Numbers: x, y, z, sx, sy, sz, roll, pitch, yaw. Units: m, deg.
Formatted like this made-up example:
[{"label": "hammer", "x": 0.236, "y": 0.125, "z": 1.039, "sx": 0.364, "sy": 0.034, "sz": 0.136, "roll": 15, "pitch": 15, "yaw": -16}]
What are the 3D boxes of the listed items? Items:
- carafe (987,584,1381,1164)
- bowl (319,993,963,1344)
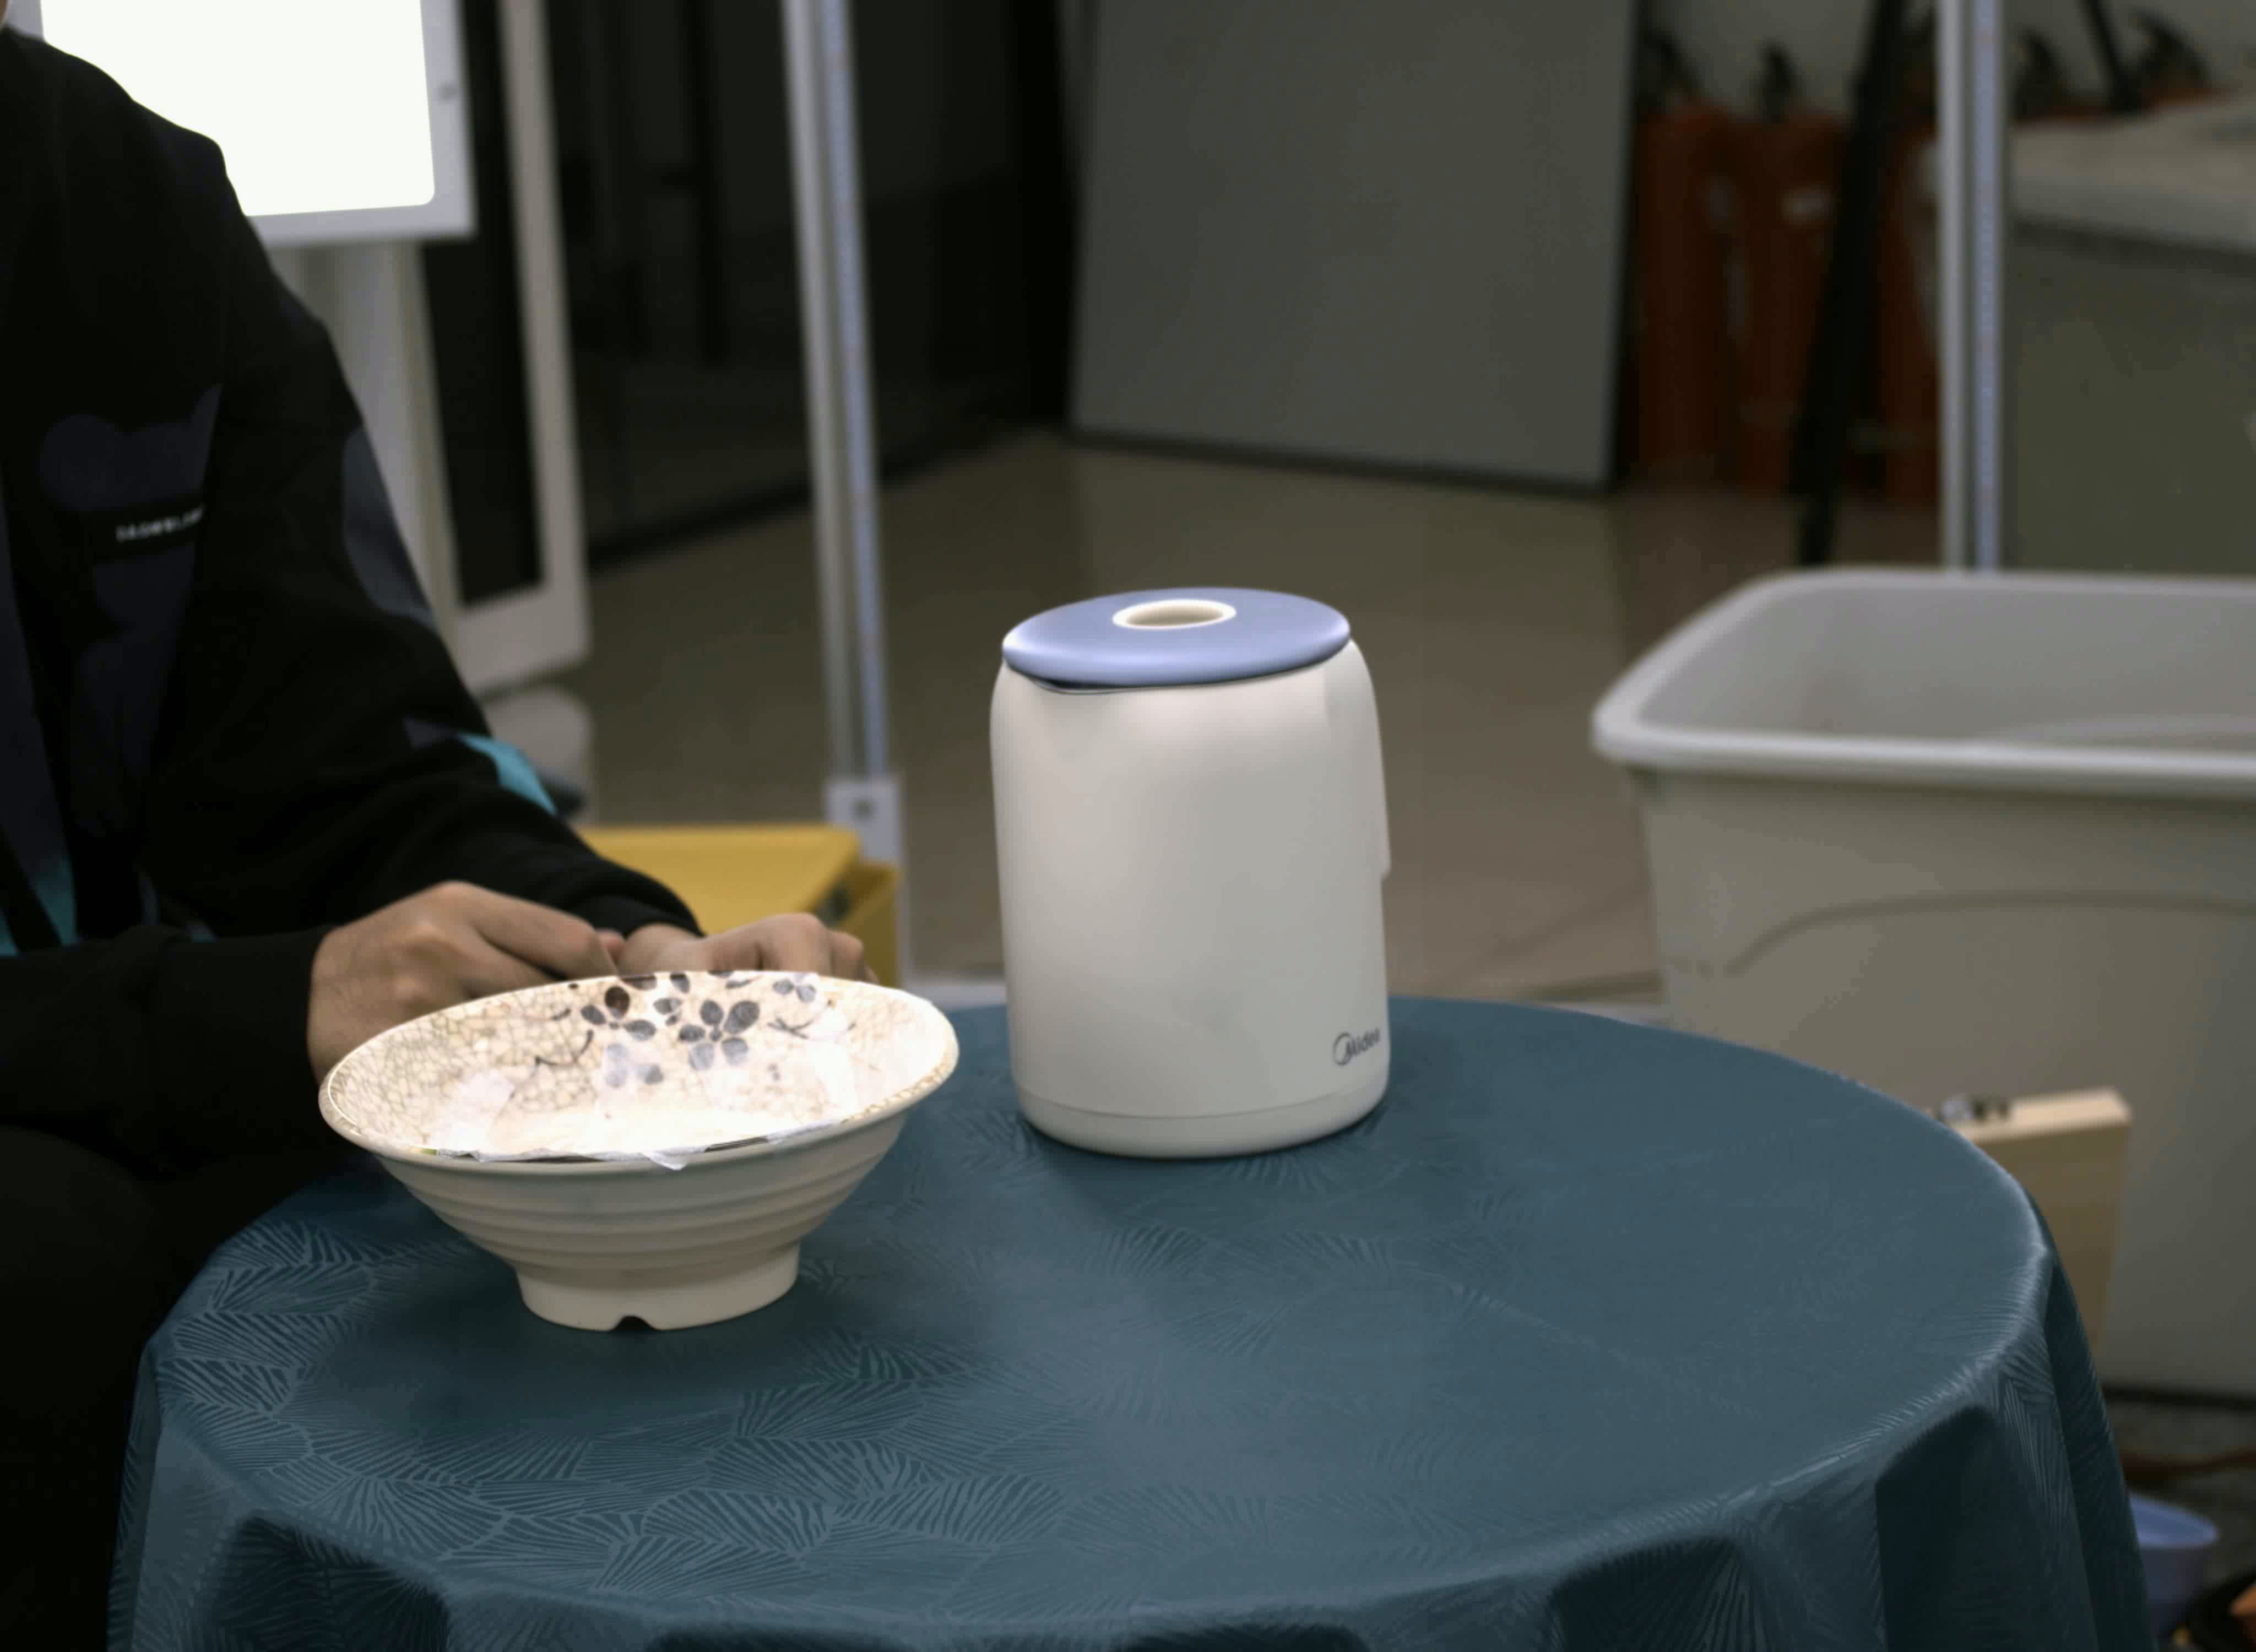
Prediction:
[{"label": "carafe", "x": 0.032, "y": 0.010, "z": 1.854, "sx": 0.133, "sy": 0.184, "sz": 0.188, "roll": 6, "pitch": 14, "yaw": 32}, {"label": "bowl", "x": -0.148, "y": 0.113, "z": 1.696, "sx": 0.201, "sy": 0.079, "sz": 0.204, "roll": -5, "pitch": 11, "yaw": 0}]
